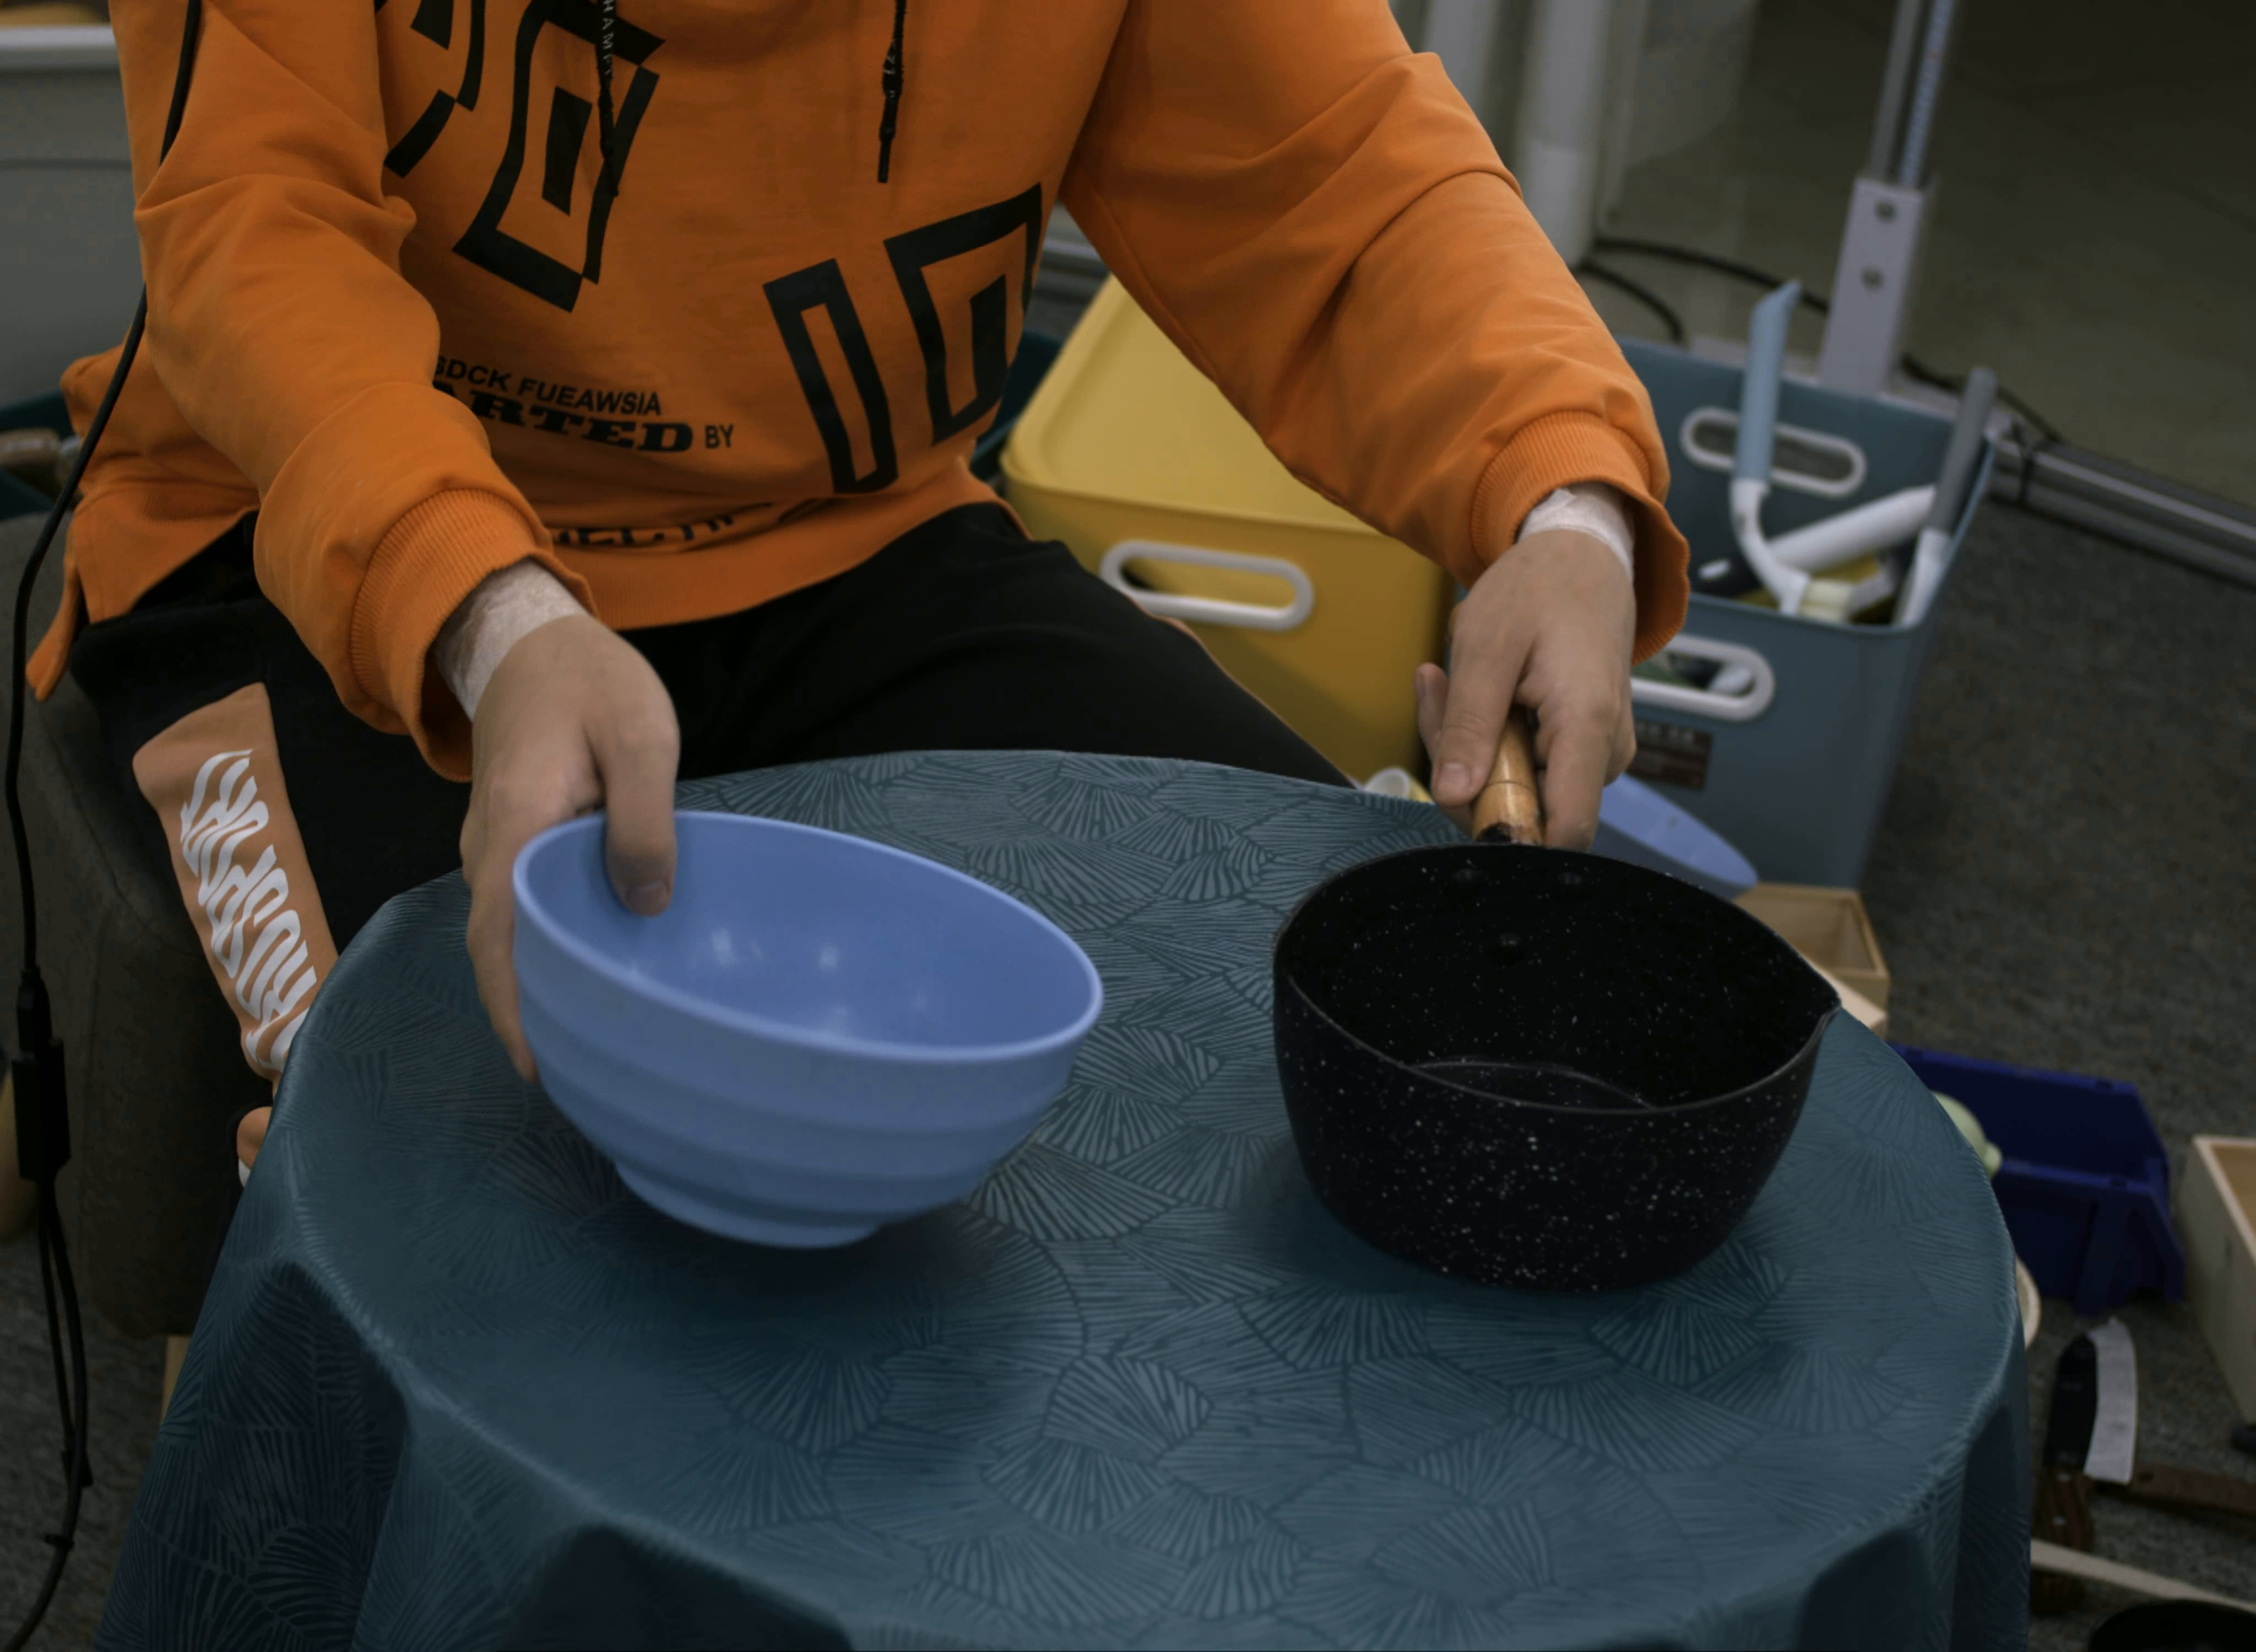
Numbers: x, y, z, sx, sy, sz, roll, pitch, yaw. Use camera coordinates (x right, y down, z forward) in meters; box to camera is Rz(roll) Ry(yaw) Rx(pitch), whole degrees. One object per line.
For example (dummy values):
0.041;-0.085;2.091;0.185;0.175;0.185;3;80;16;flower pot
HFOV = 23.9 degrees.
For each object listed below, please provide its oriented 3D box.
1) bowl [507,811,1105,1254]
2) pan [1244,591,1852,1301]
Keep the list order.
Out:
-0.113;0.077;1.735;0.196;0.095;0.197;11;21;-5;bowl
0.135;0.038;1.880;0.206;0.108;0.345;3;29;-5;pan
